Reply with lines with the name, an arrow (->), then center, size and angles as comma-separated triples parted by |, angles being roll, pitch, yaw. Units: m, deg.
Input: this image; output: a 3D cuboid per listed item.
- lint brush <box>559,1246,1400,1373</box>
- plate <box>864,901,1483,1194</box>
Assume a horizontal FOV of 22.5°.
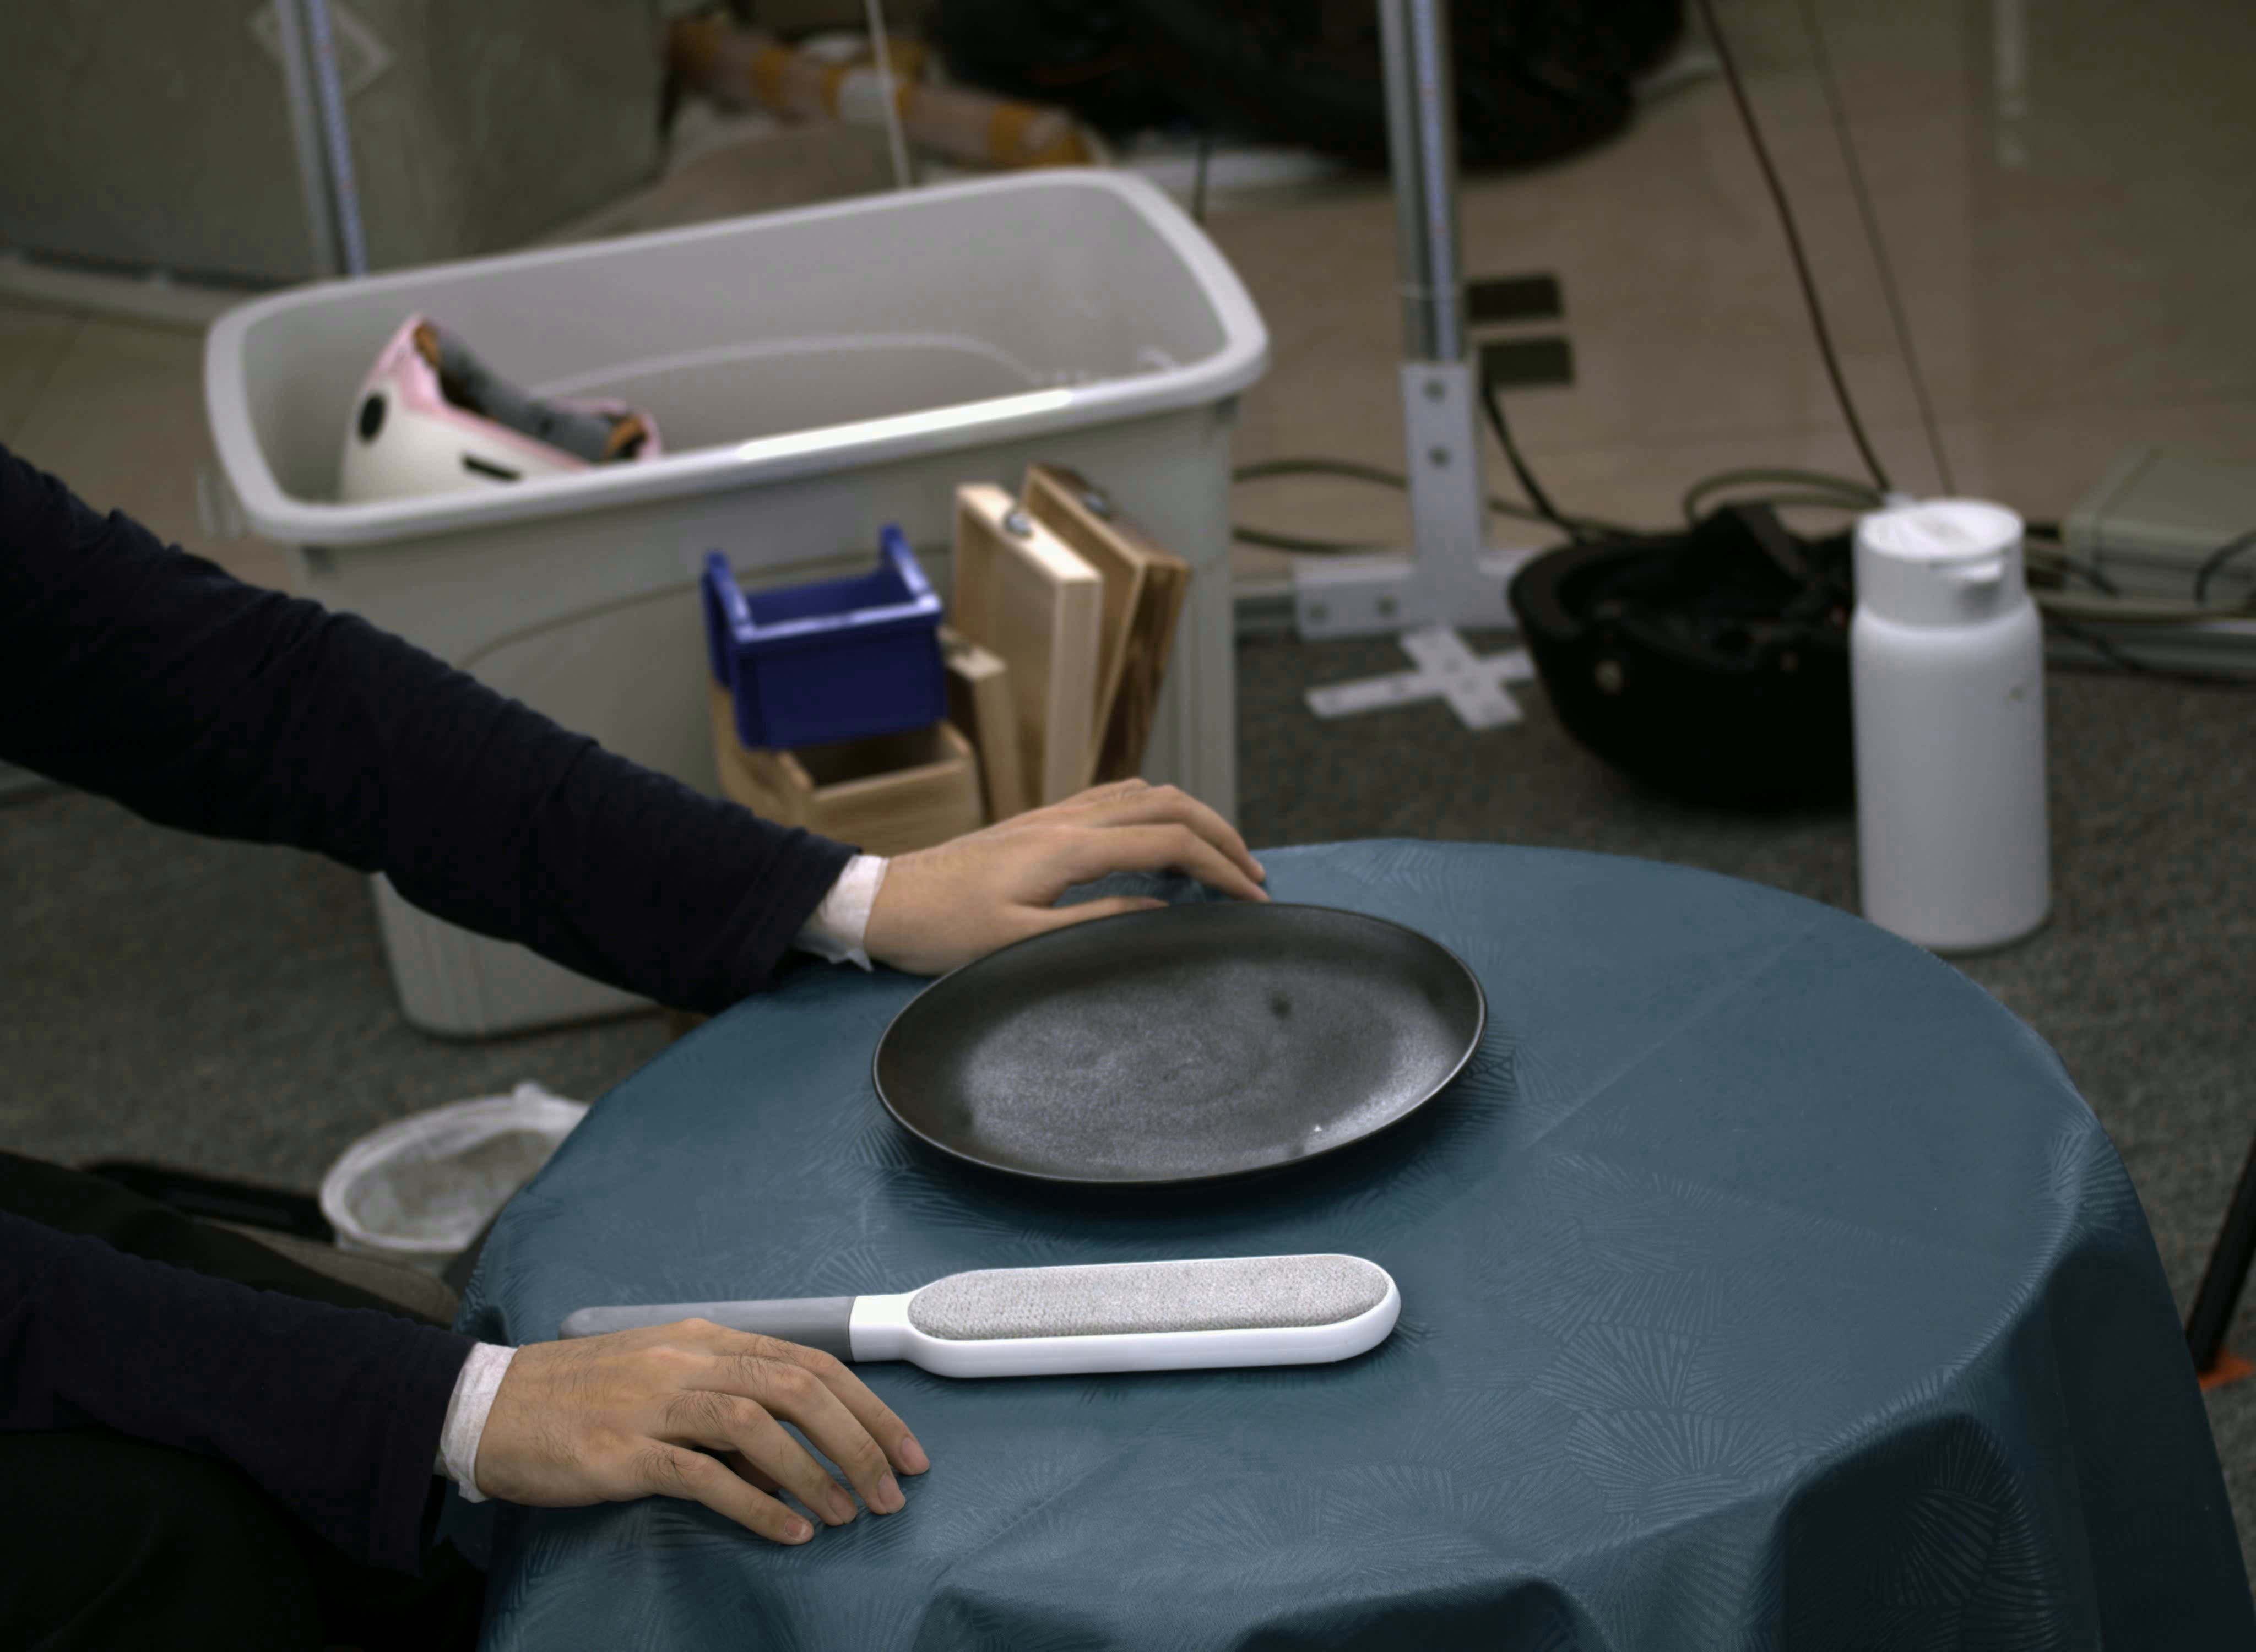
lint brush -> -0.056, 0.176, 2.053 | 0.308, 0.021, 0.059 | -3, 30, 9
plate -> 0.019, 0.092, 2.221 | 0.244, 0.024, 0.241 | -5, 25, 3
